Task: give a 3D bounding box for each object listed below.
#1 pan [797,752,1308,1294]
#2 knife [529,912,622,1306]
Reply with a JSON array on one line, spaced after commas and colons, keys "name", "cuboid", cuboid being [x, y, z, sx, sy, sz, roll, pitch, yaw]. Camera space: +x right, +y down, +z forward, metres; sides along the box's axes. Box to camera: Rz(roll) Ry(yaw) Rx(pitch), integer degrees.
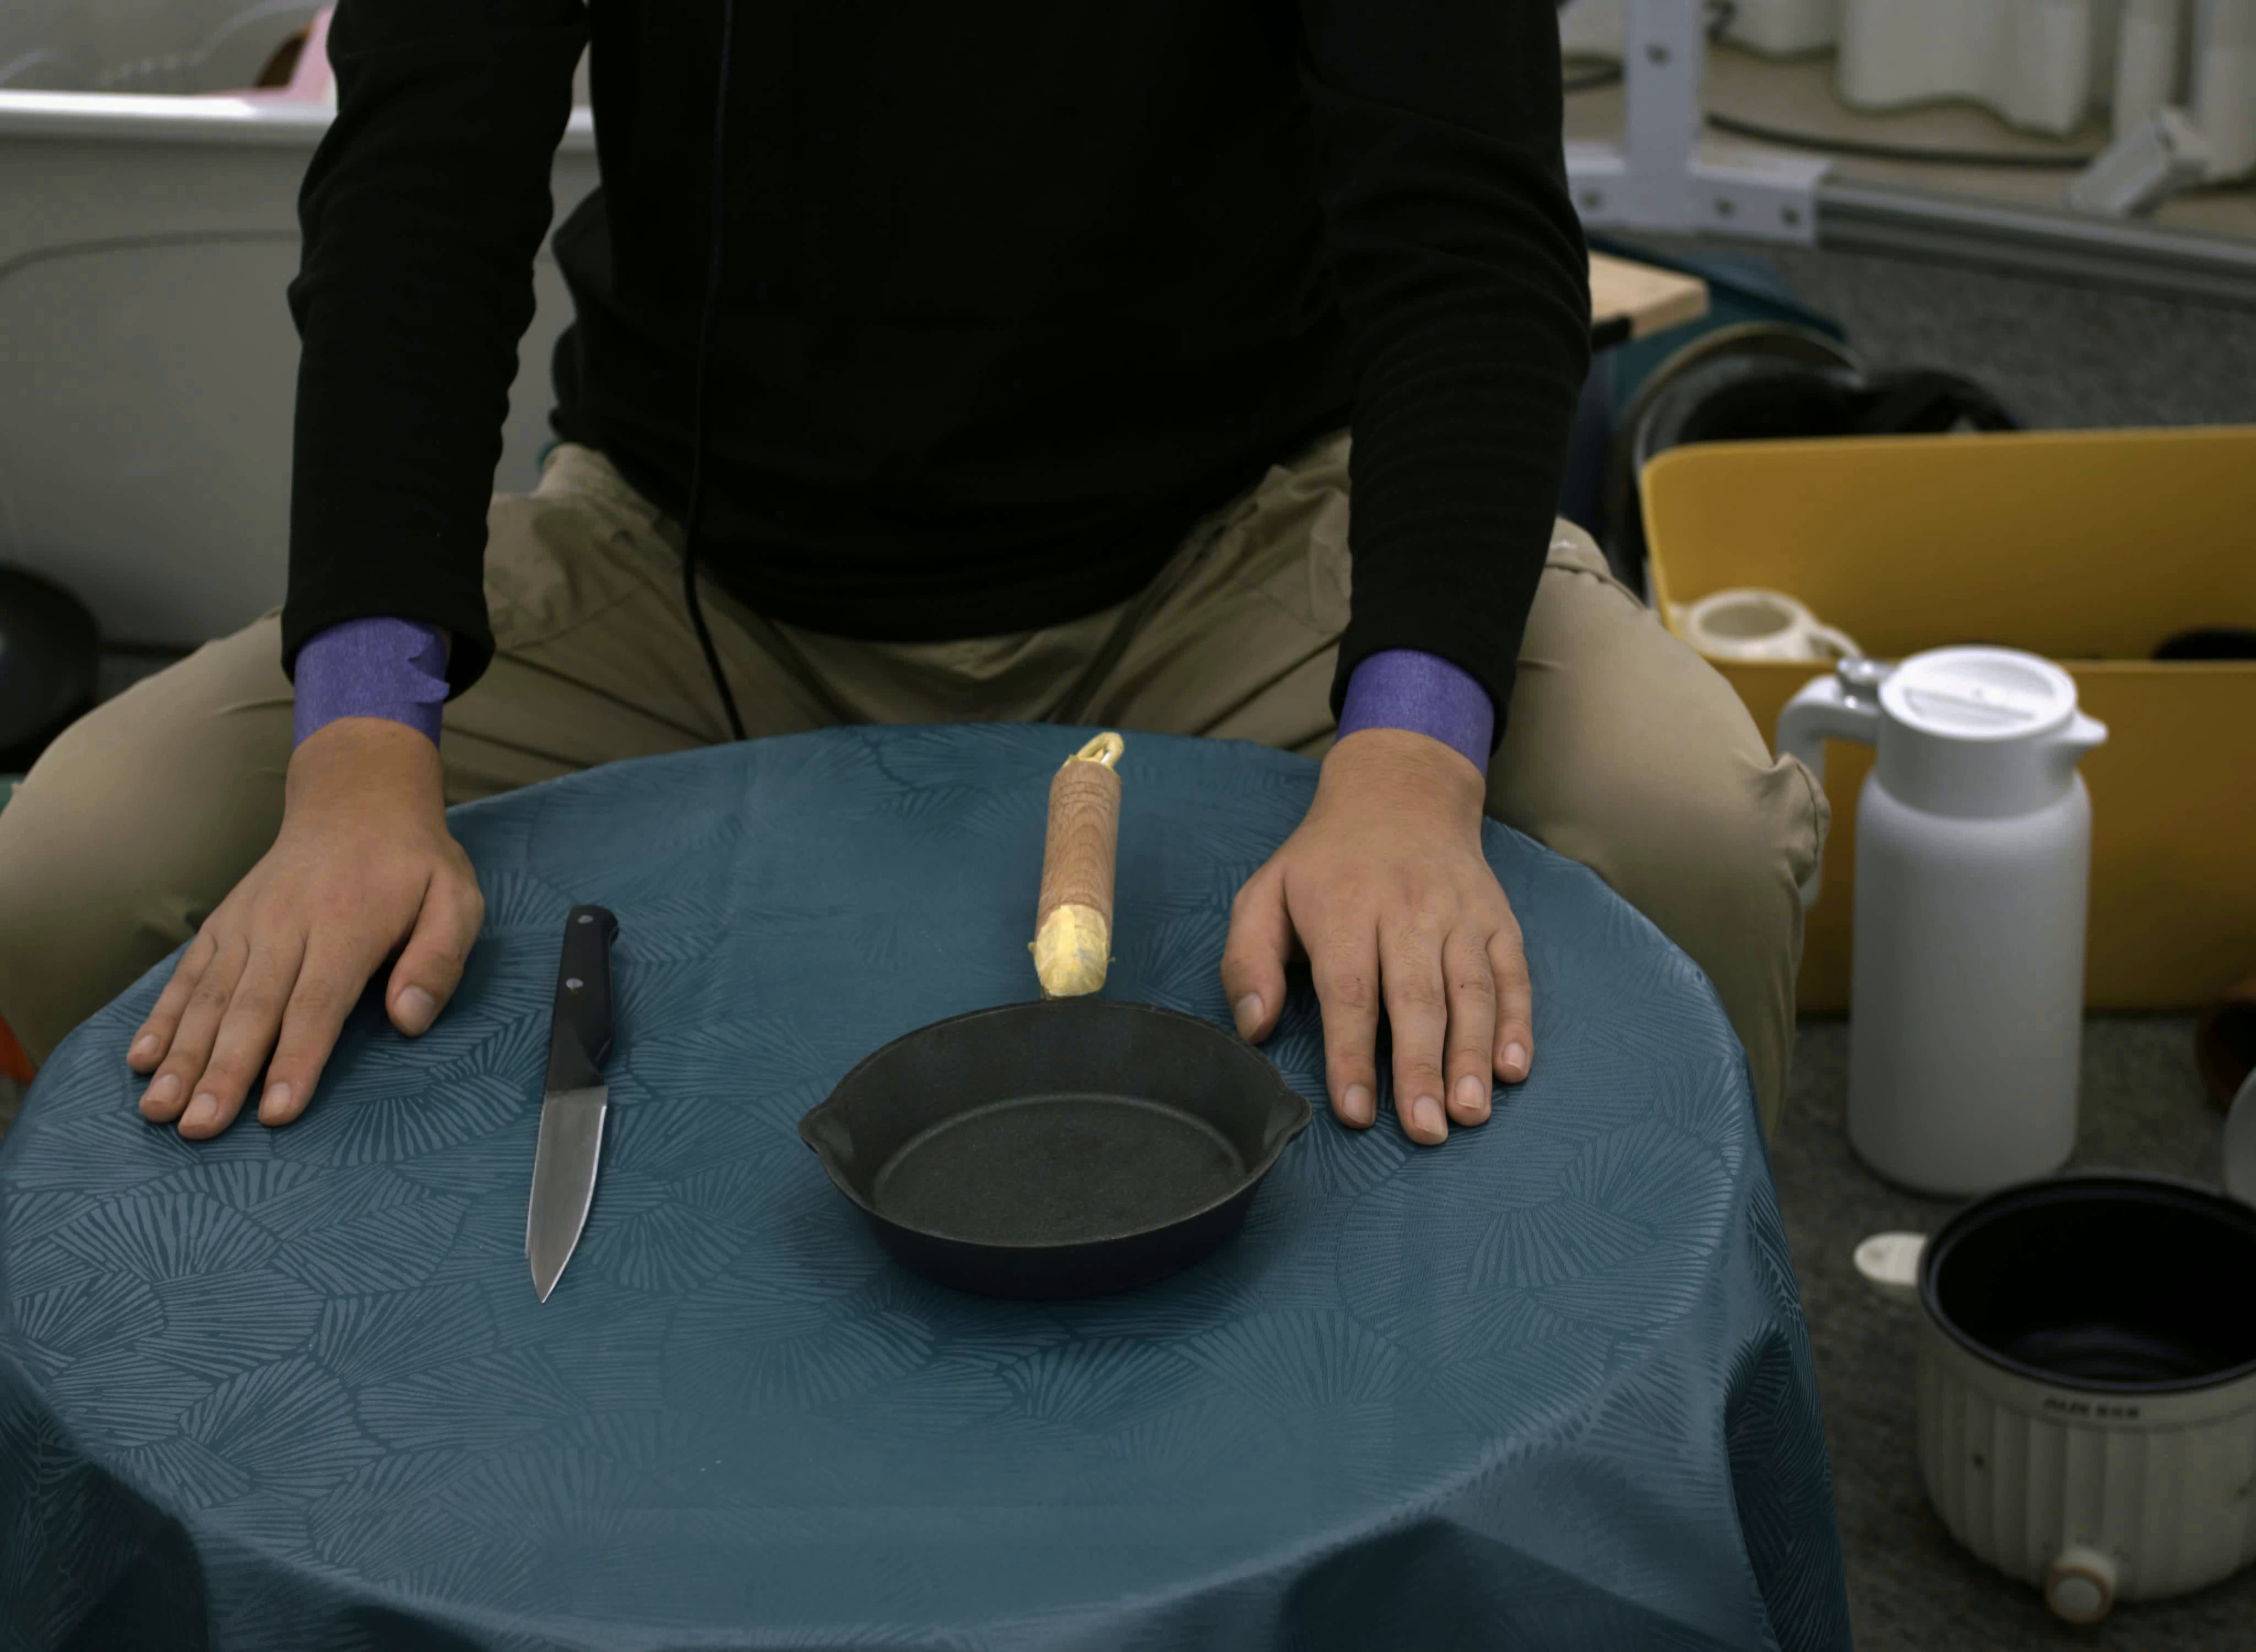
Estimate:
[{"name": "pan", "cuboid": [-0.019, 0.065, 1.922, 0.168, 0.049, 0.329, 0, 27, 5]}, {"name": "knife", "cuboid": [-0.190, 0.095, 1.917, 0.024, 0.016, 0.242, -2, 30, 0]}]
